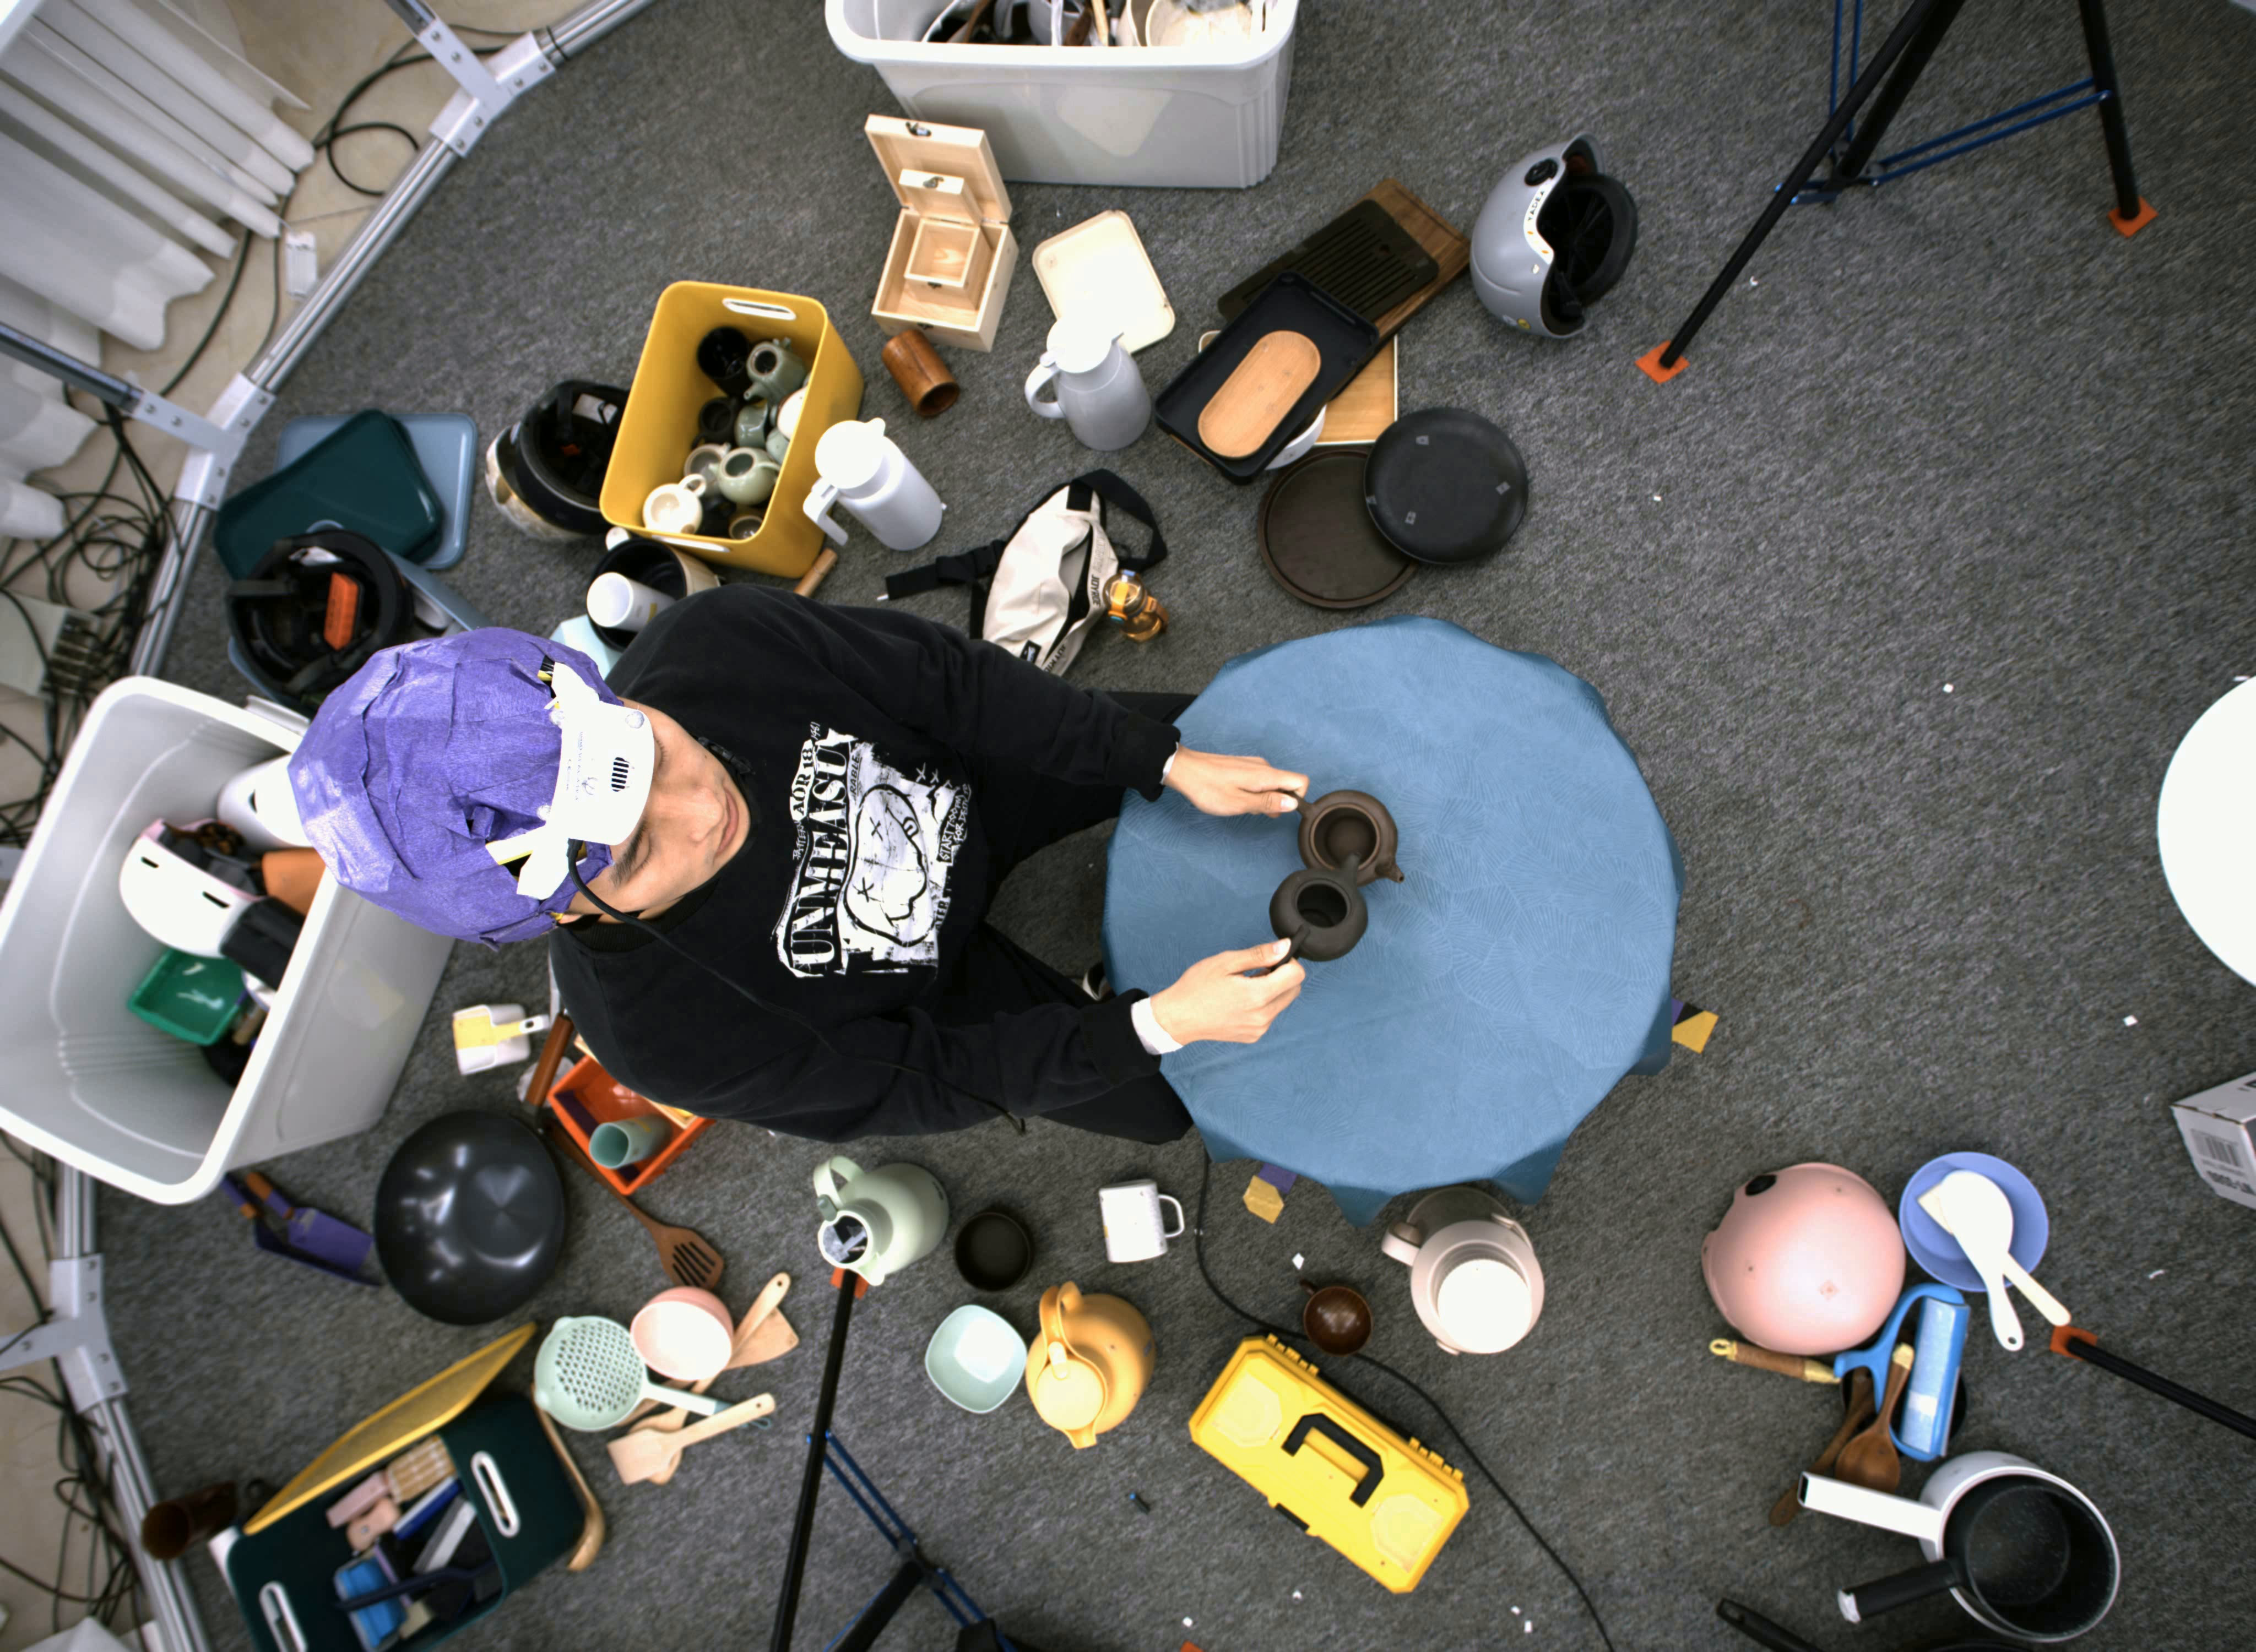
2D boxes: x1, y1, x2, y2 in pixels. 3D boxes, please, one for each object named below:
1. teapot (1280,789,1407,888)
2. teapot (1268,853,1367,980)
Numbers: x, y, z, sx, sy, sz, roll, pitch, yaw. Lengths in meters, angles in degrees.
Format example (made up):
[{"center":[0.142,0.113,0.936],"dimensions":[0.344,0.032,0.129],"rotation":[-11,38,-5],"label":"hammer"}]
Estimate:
[{"center":[0.221,0.010,1.415],"dimensions":[0.153,0.054,0.103],"rotation":[32,96,13],"label":"teapot"},{"center":[0.178,0.088,1.315],"dimensions":[0.092,0.066,0.151],"rotation":[33,65,16],"label":"teapot"}]
